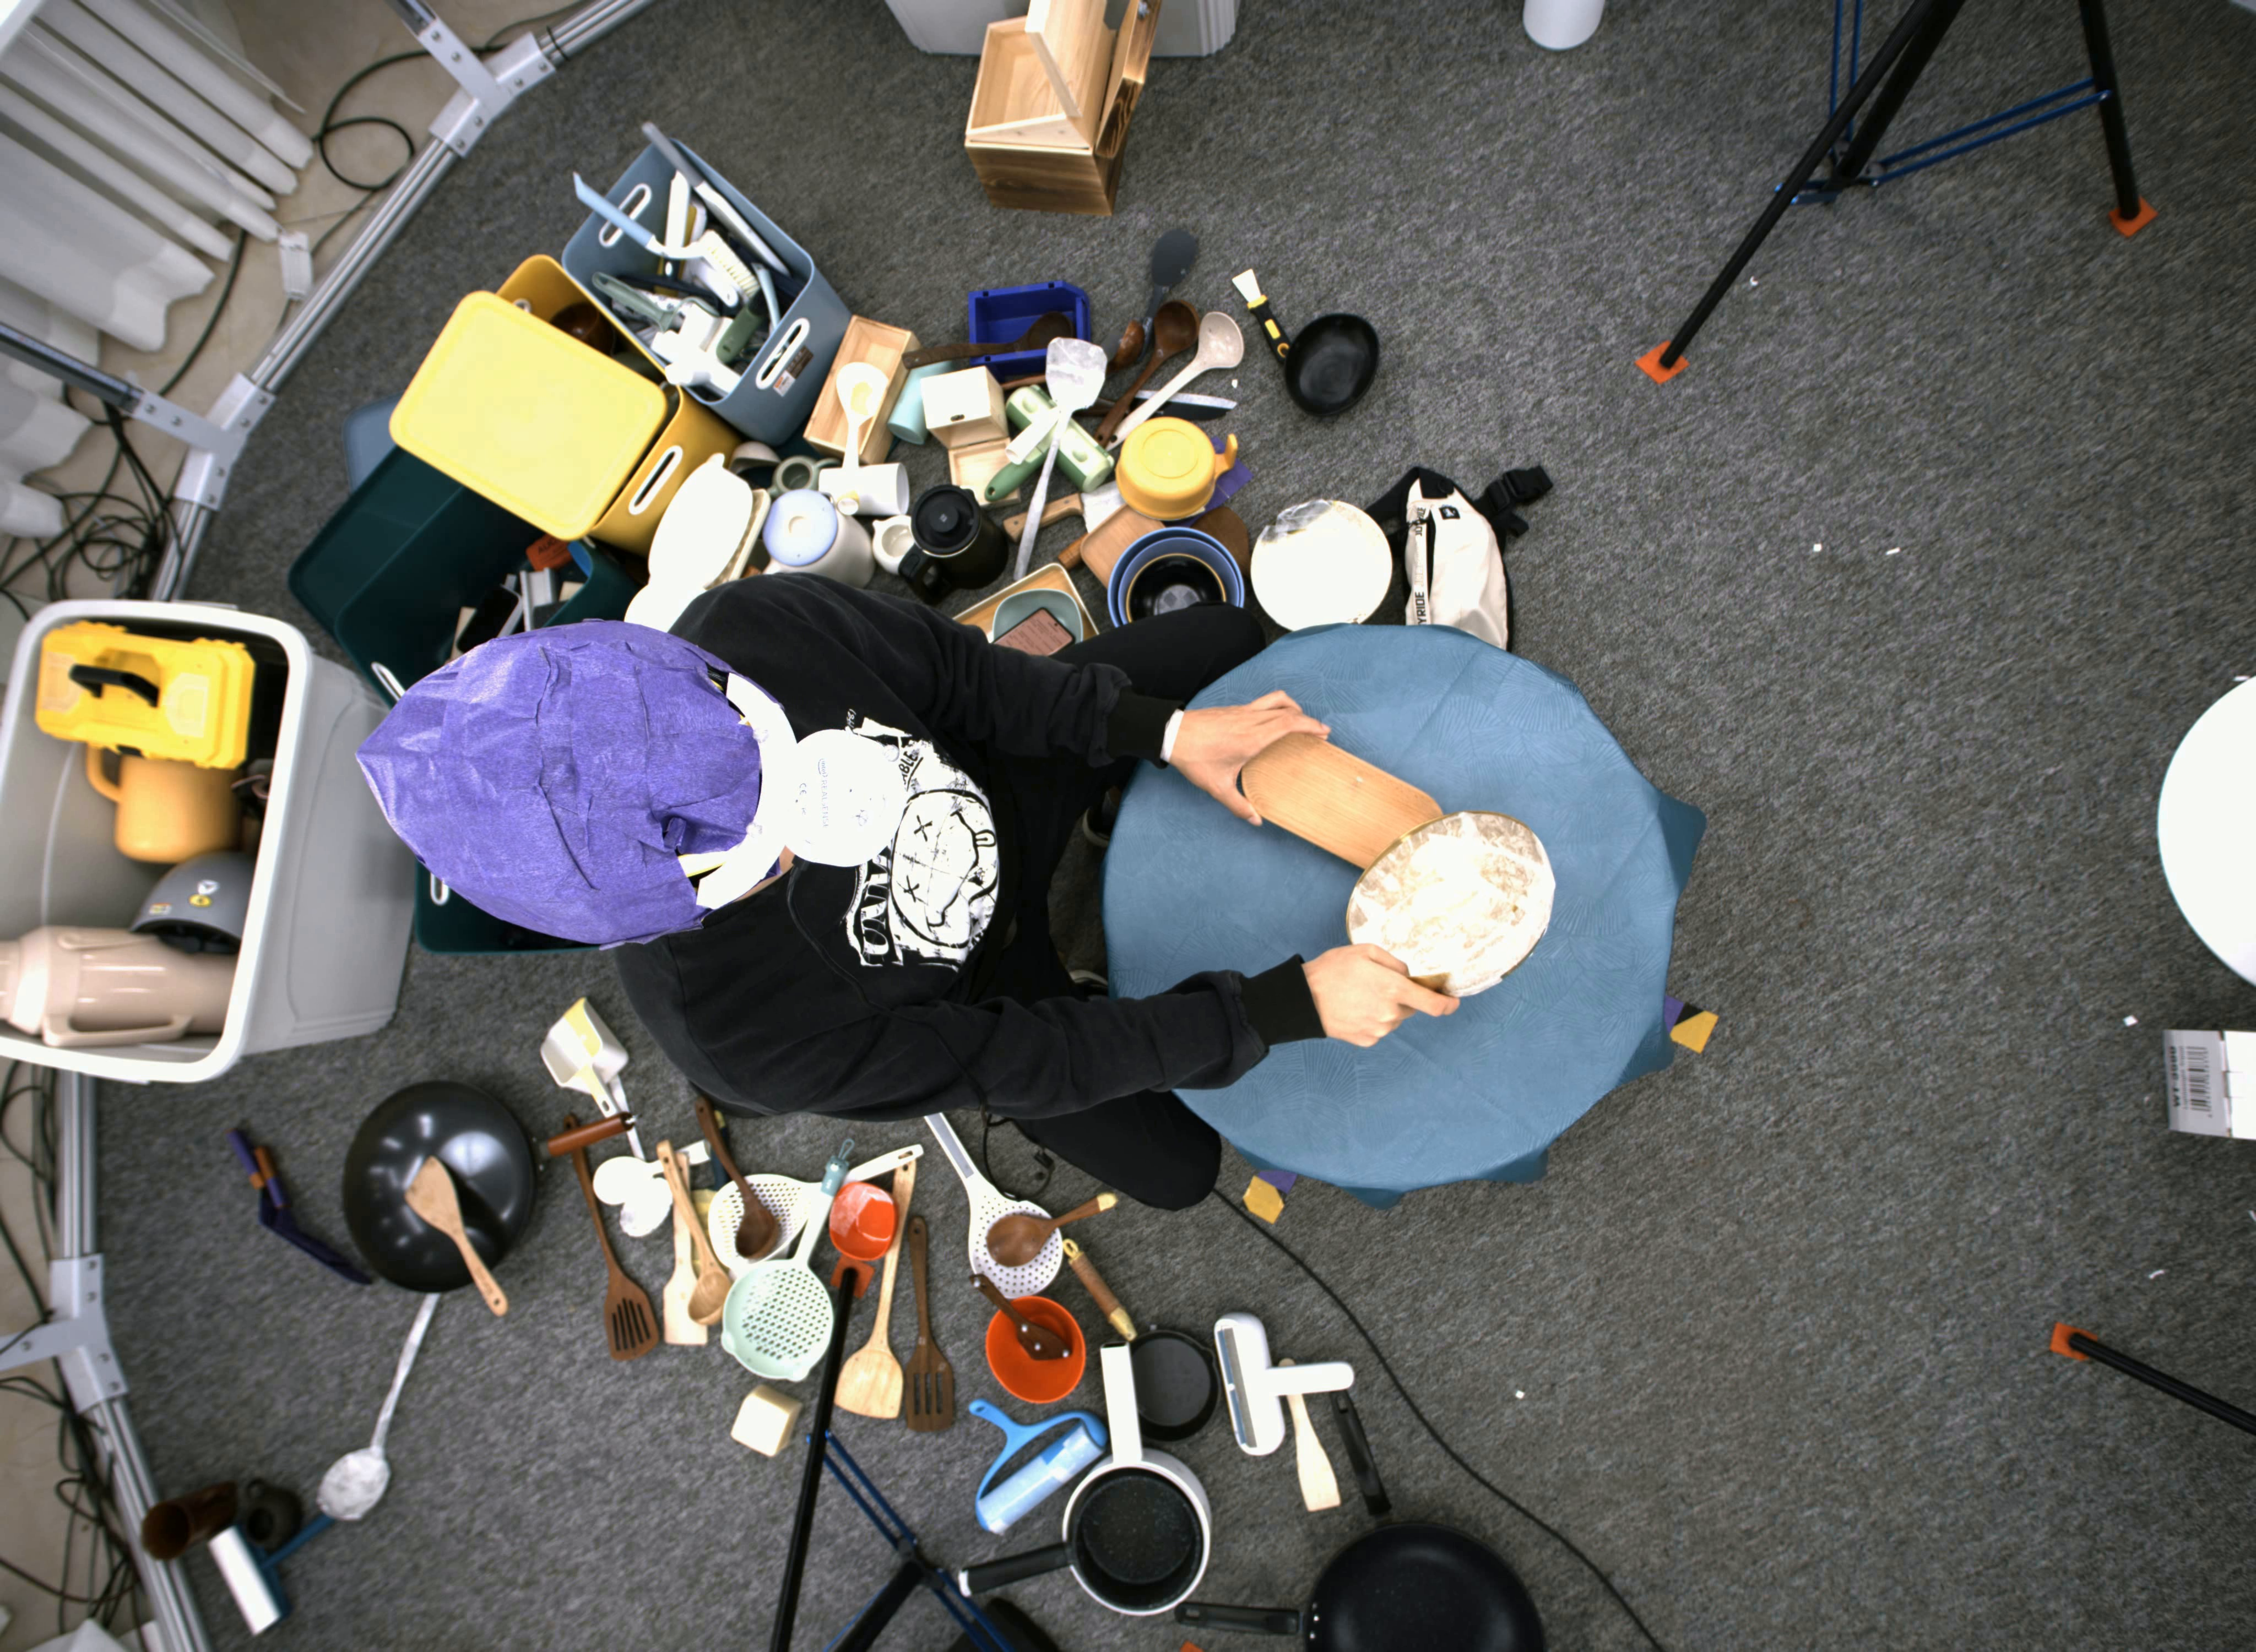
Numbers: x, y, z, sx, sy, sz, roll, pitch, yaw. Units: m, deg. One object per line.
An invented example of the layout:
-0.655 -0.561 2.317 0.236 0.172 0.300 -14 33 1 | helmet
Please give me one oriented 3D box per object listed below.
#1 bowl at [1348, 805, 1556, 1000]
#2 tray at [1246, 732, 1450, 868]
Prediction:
0.318 0.086 1.316 0.215 0.211 0.096 -40 124 4 | bowl
0.231 -0.020 1.441 0.231 0.020 0.102 25 92 -6 | tray
